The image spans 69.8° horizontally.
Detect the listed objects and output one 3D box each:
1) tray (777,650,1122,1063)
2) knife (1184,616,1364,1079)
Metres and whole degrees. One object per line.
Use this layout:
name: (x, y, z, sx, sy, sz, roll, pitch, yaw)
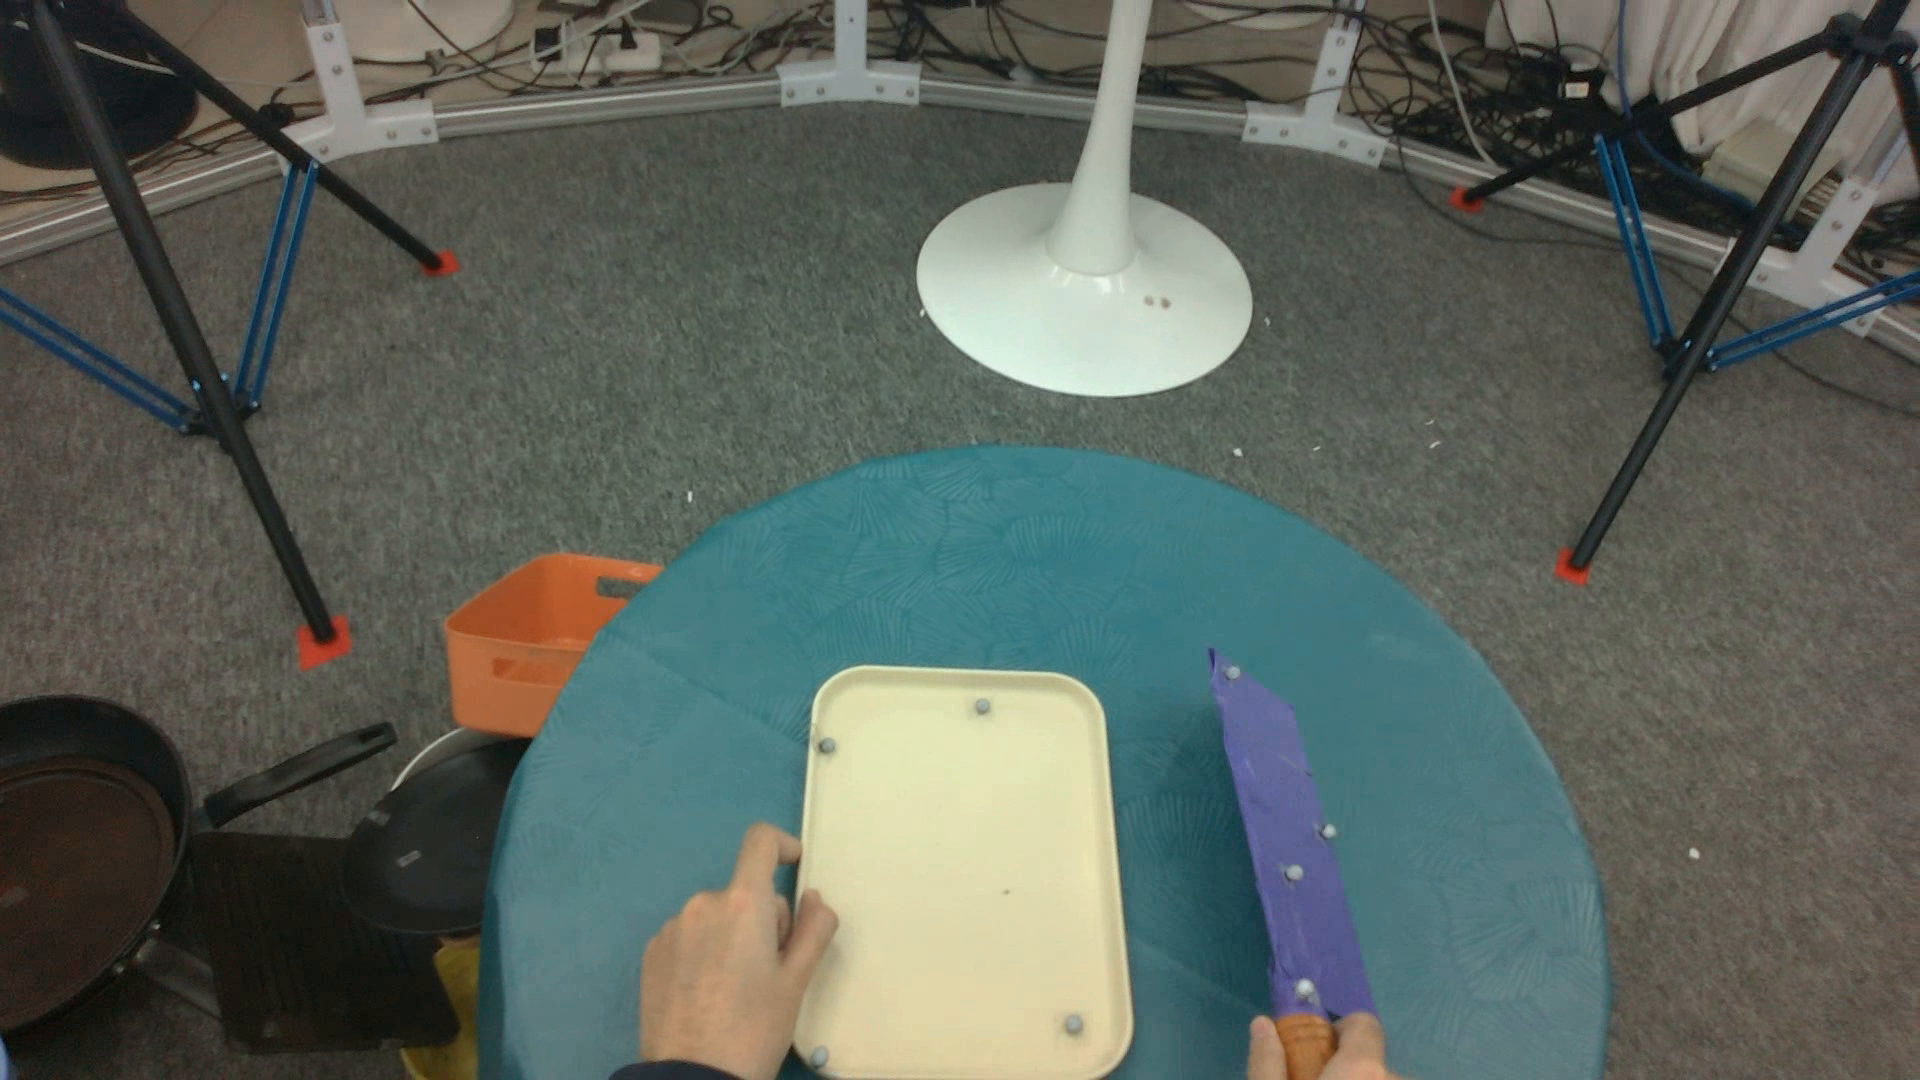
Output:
tray: (-0.007, 0.161, 0.735, 0.171, 0.017, 0.241, 4, 48, -5)
knife: (0.169, 0.178, 0.695, 0.104, 0.032, 0.316, 35, 36, -33)
